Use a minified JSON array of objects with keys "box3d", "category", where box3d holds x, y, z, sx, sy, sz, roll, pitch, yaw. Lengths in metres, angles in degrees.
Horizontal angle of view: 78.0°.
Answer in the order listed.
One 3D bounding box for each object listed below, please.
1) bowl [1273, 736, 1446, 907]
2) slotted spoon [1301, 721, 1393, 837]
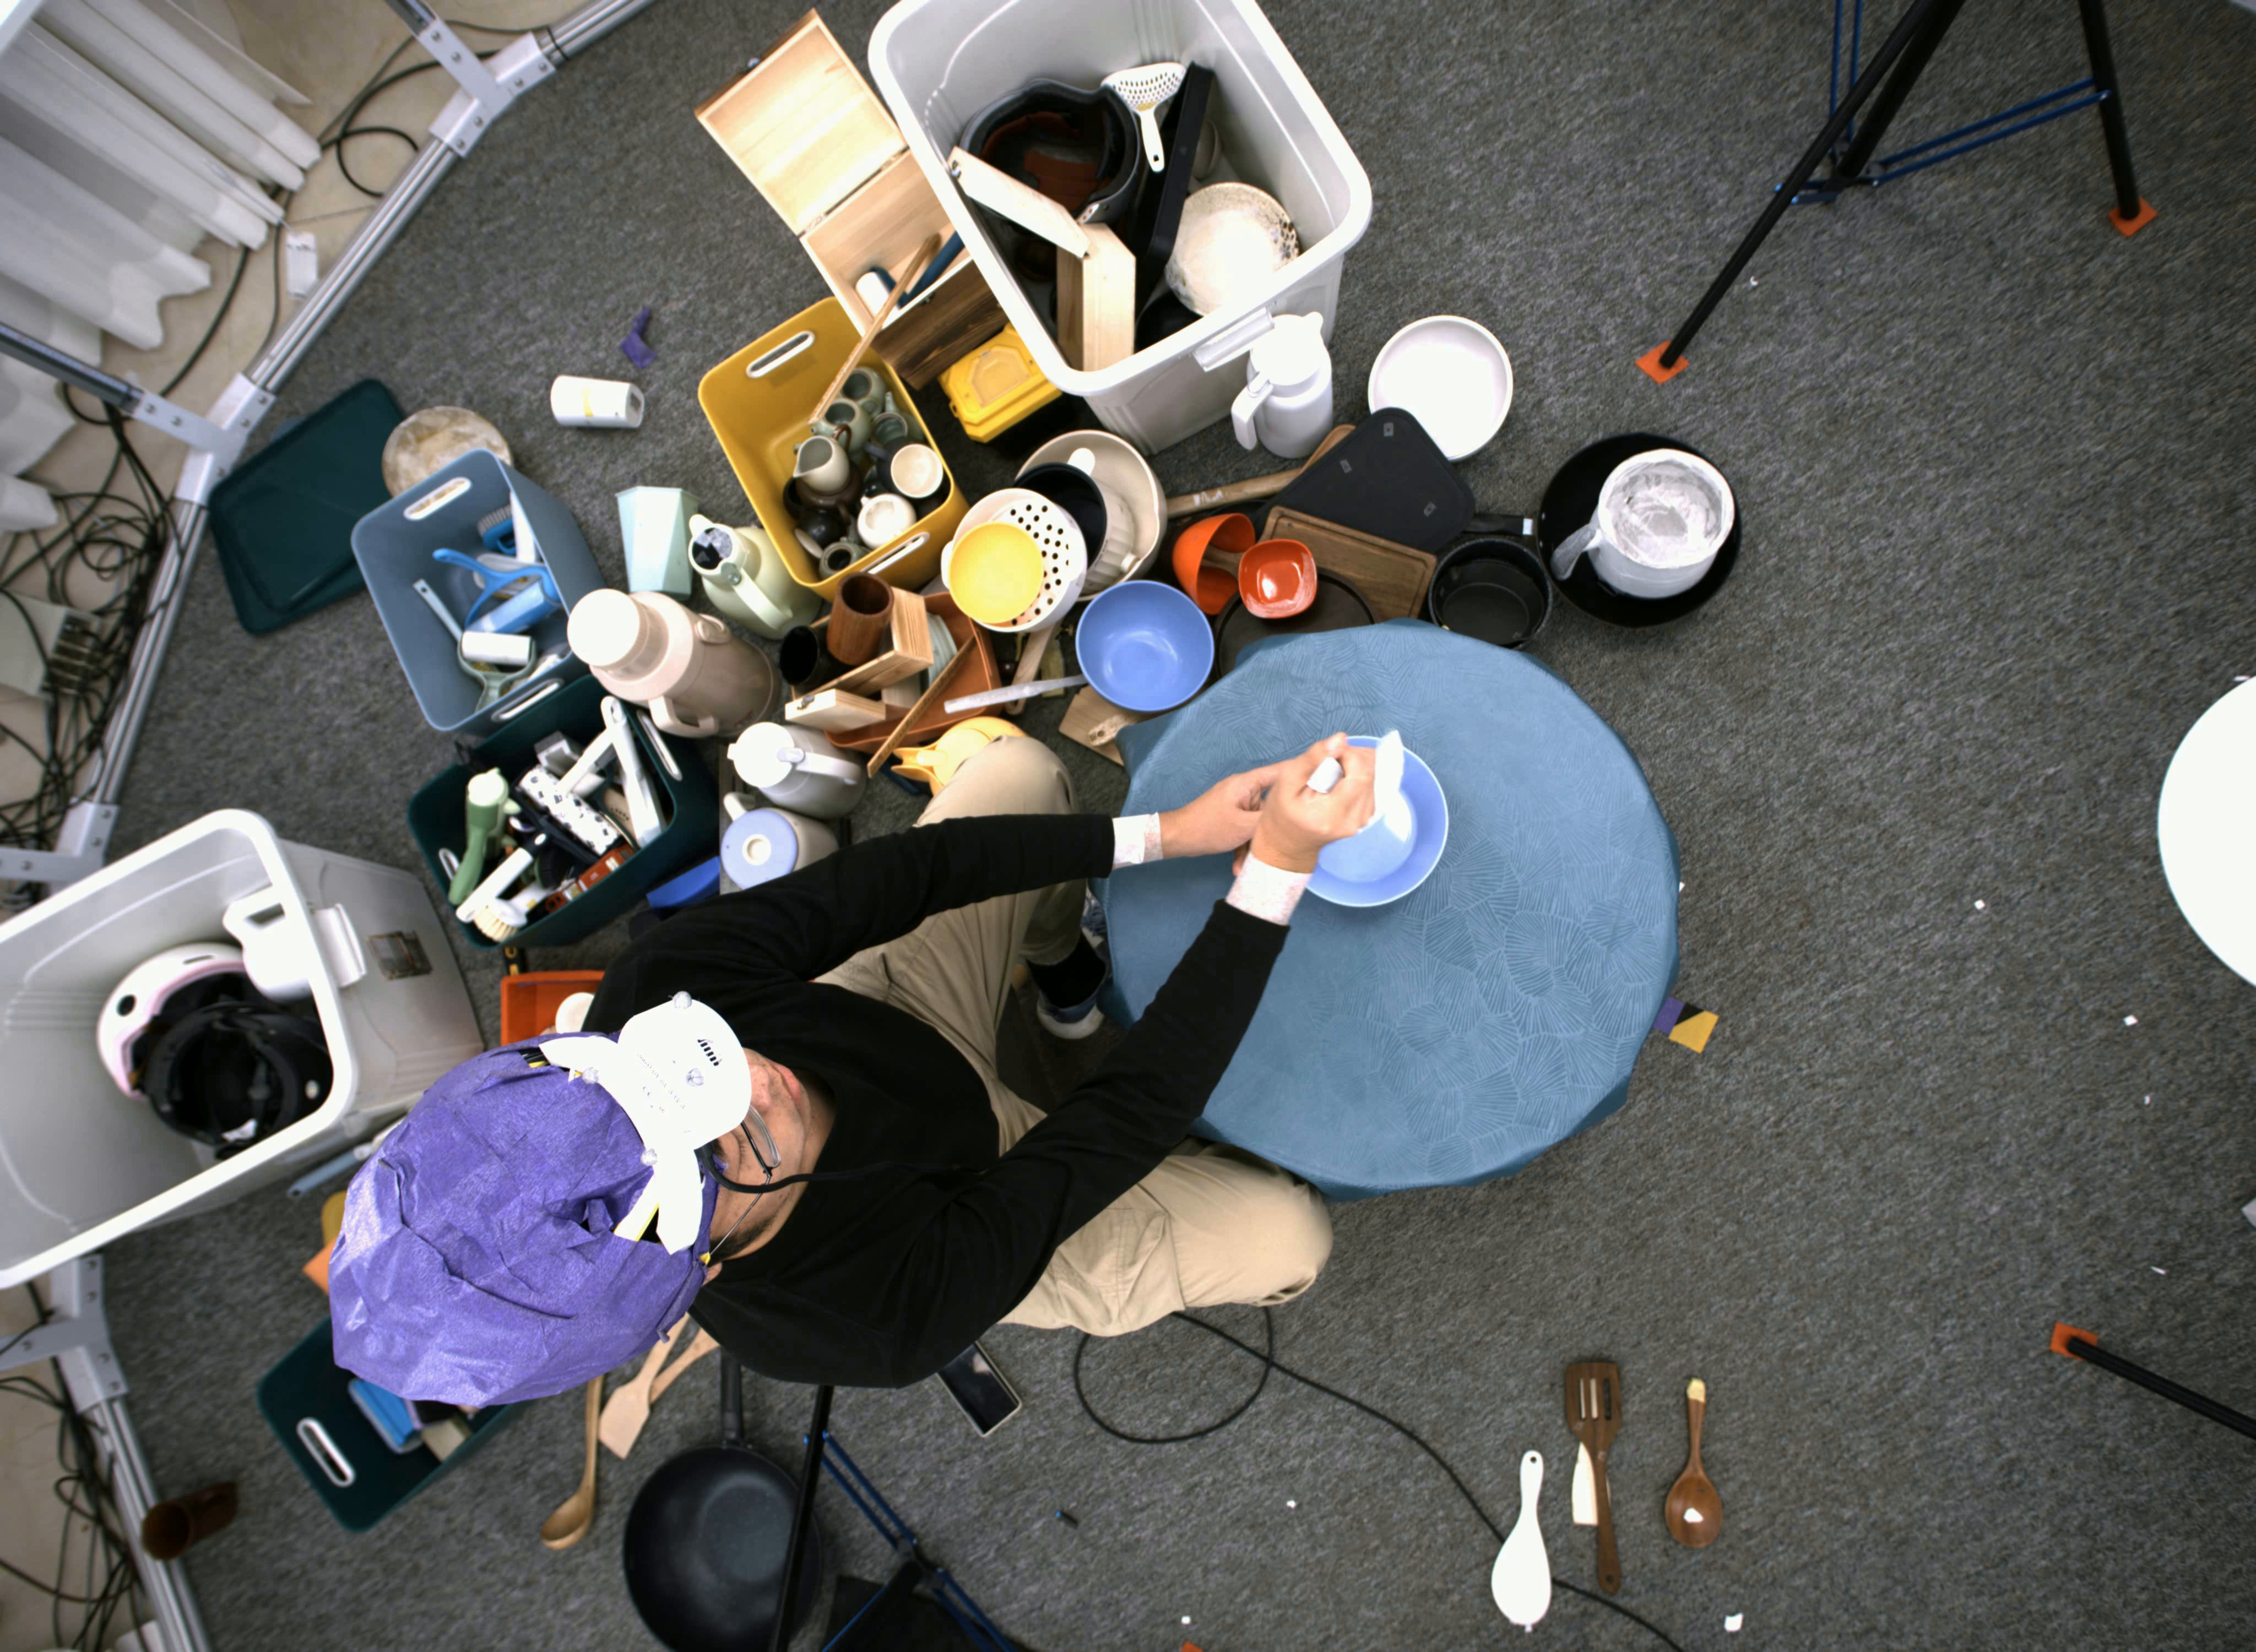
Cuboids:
[{"box3d":[0.240,-0.003,1.434,0.177,0.070,0.175,-1,87,11],"category":"bowl"},{"box3d":[0.187,-0.041,1.211,0.045,0.348,0.137,39,99,15],"category":"slotted spoon"}]
